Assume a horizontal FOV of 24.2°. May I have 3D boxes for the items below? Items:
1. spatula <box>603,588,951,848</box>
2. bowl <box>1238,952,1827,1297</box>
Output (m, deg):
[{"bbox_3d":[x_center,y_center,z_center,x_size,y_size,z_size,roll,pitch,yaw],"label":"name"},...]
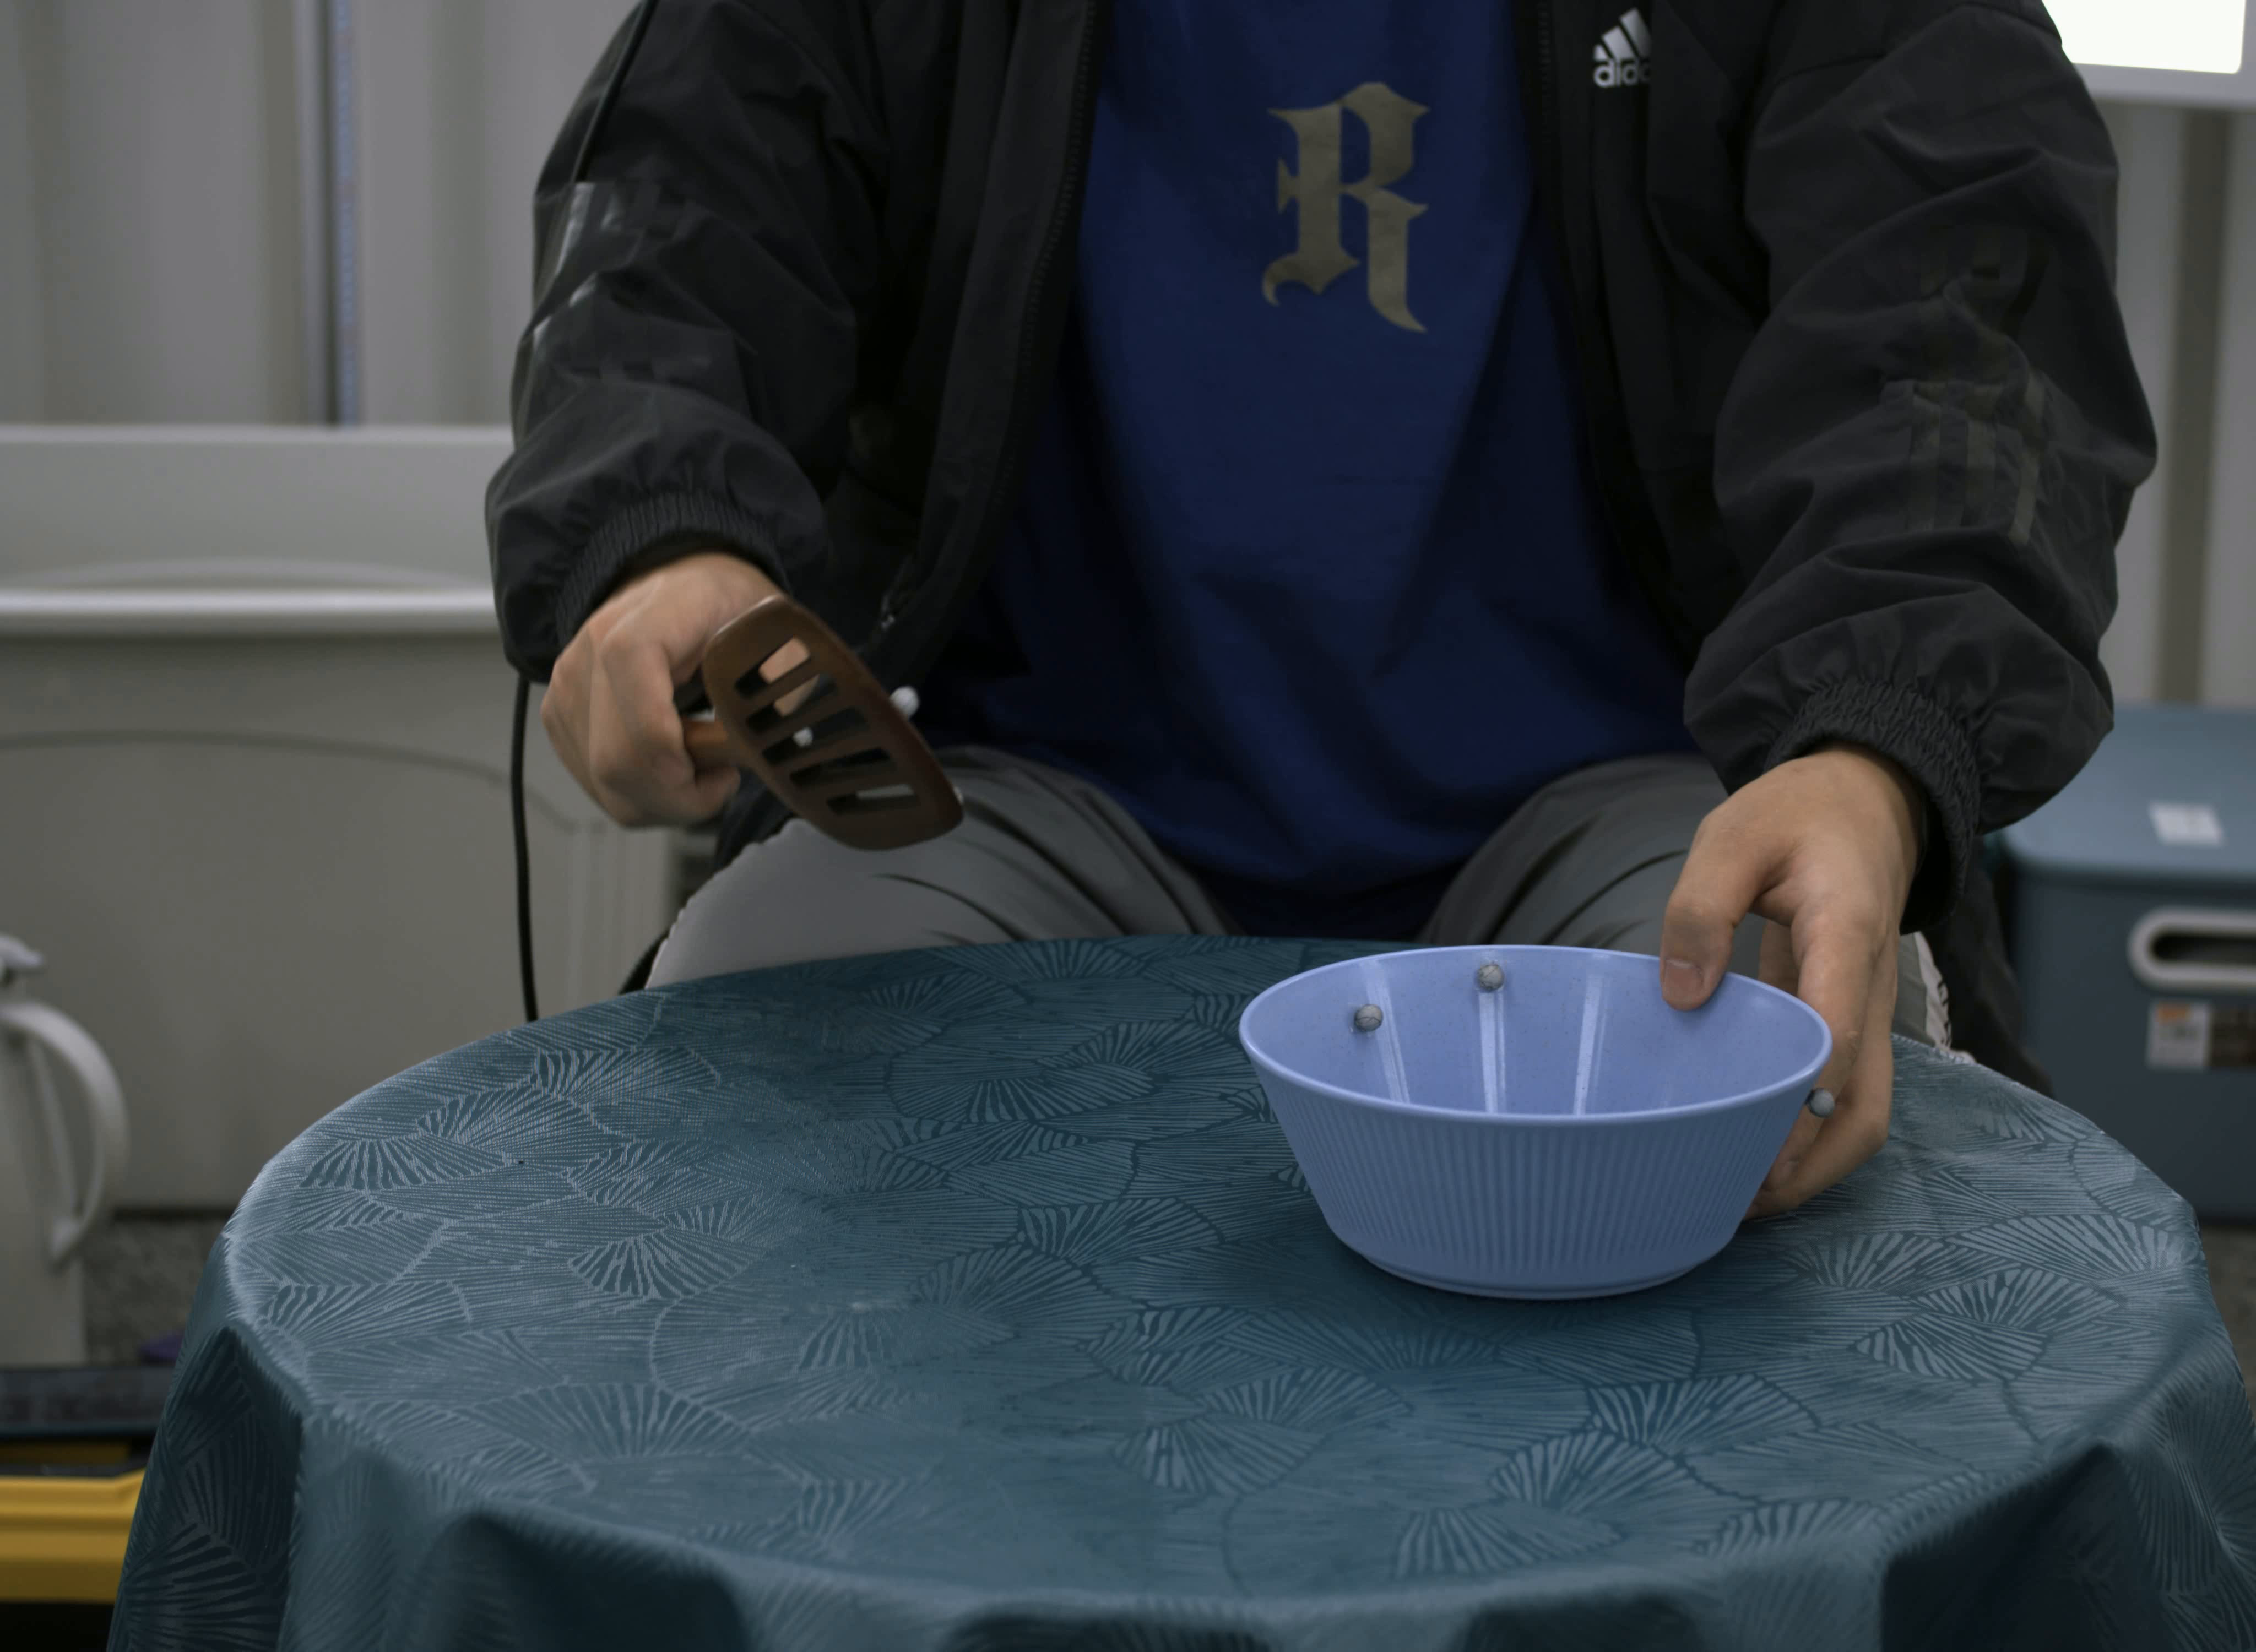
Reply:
[{"bbox_3d":[-0.125,-0.023,1.623,0.024,0.086,0.385,-41,8,-12],"label":"spatula"},{"bbox_3d":[0.120,0.091,1.570,0.175,0.071,0.175,1,14,0],"label":"bowl"}]
